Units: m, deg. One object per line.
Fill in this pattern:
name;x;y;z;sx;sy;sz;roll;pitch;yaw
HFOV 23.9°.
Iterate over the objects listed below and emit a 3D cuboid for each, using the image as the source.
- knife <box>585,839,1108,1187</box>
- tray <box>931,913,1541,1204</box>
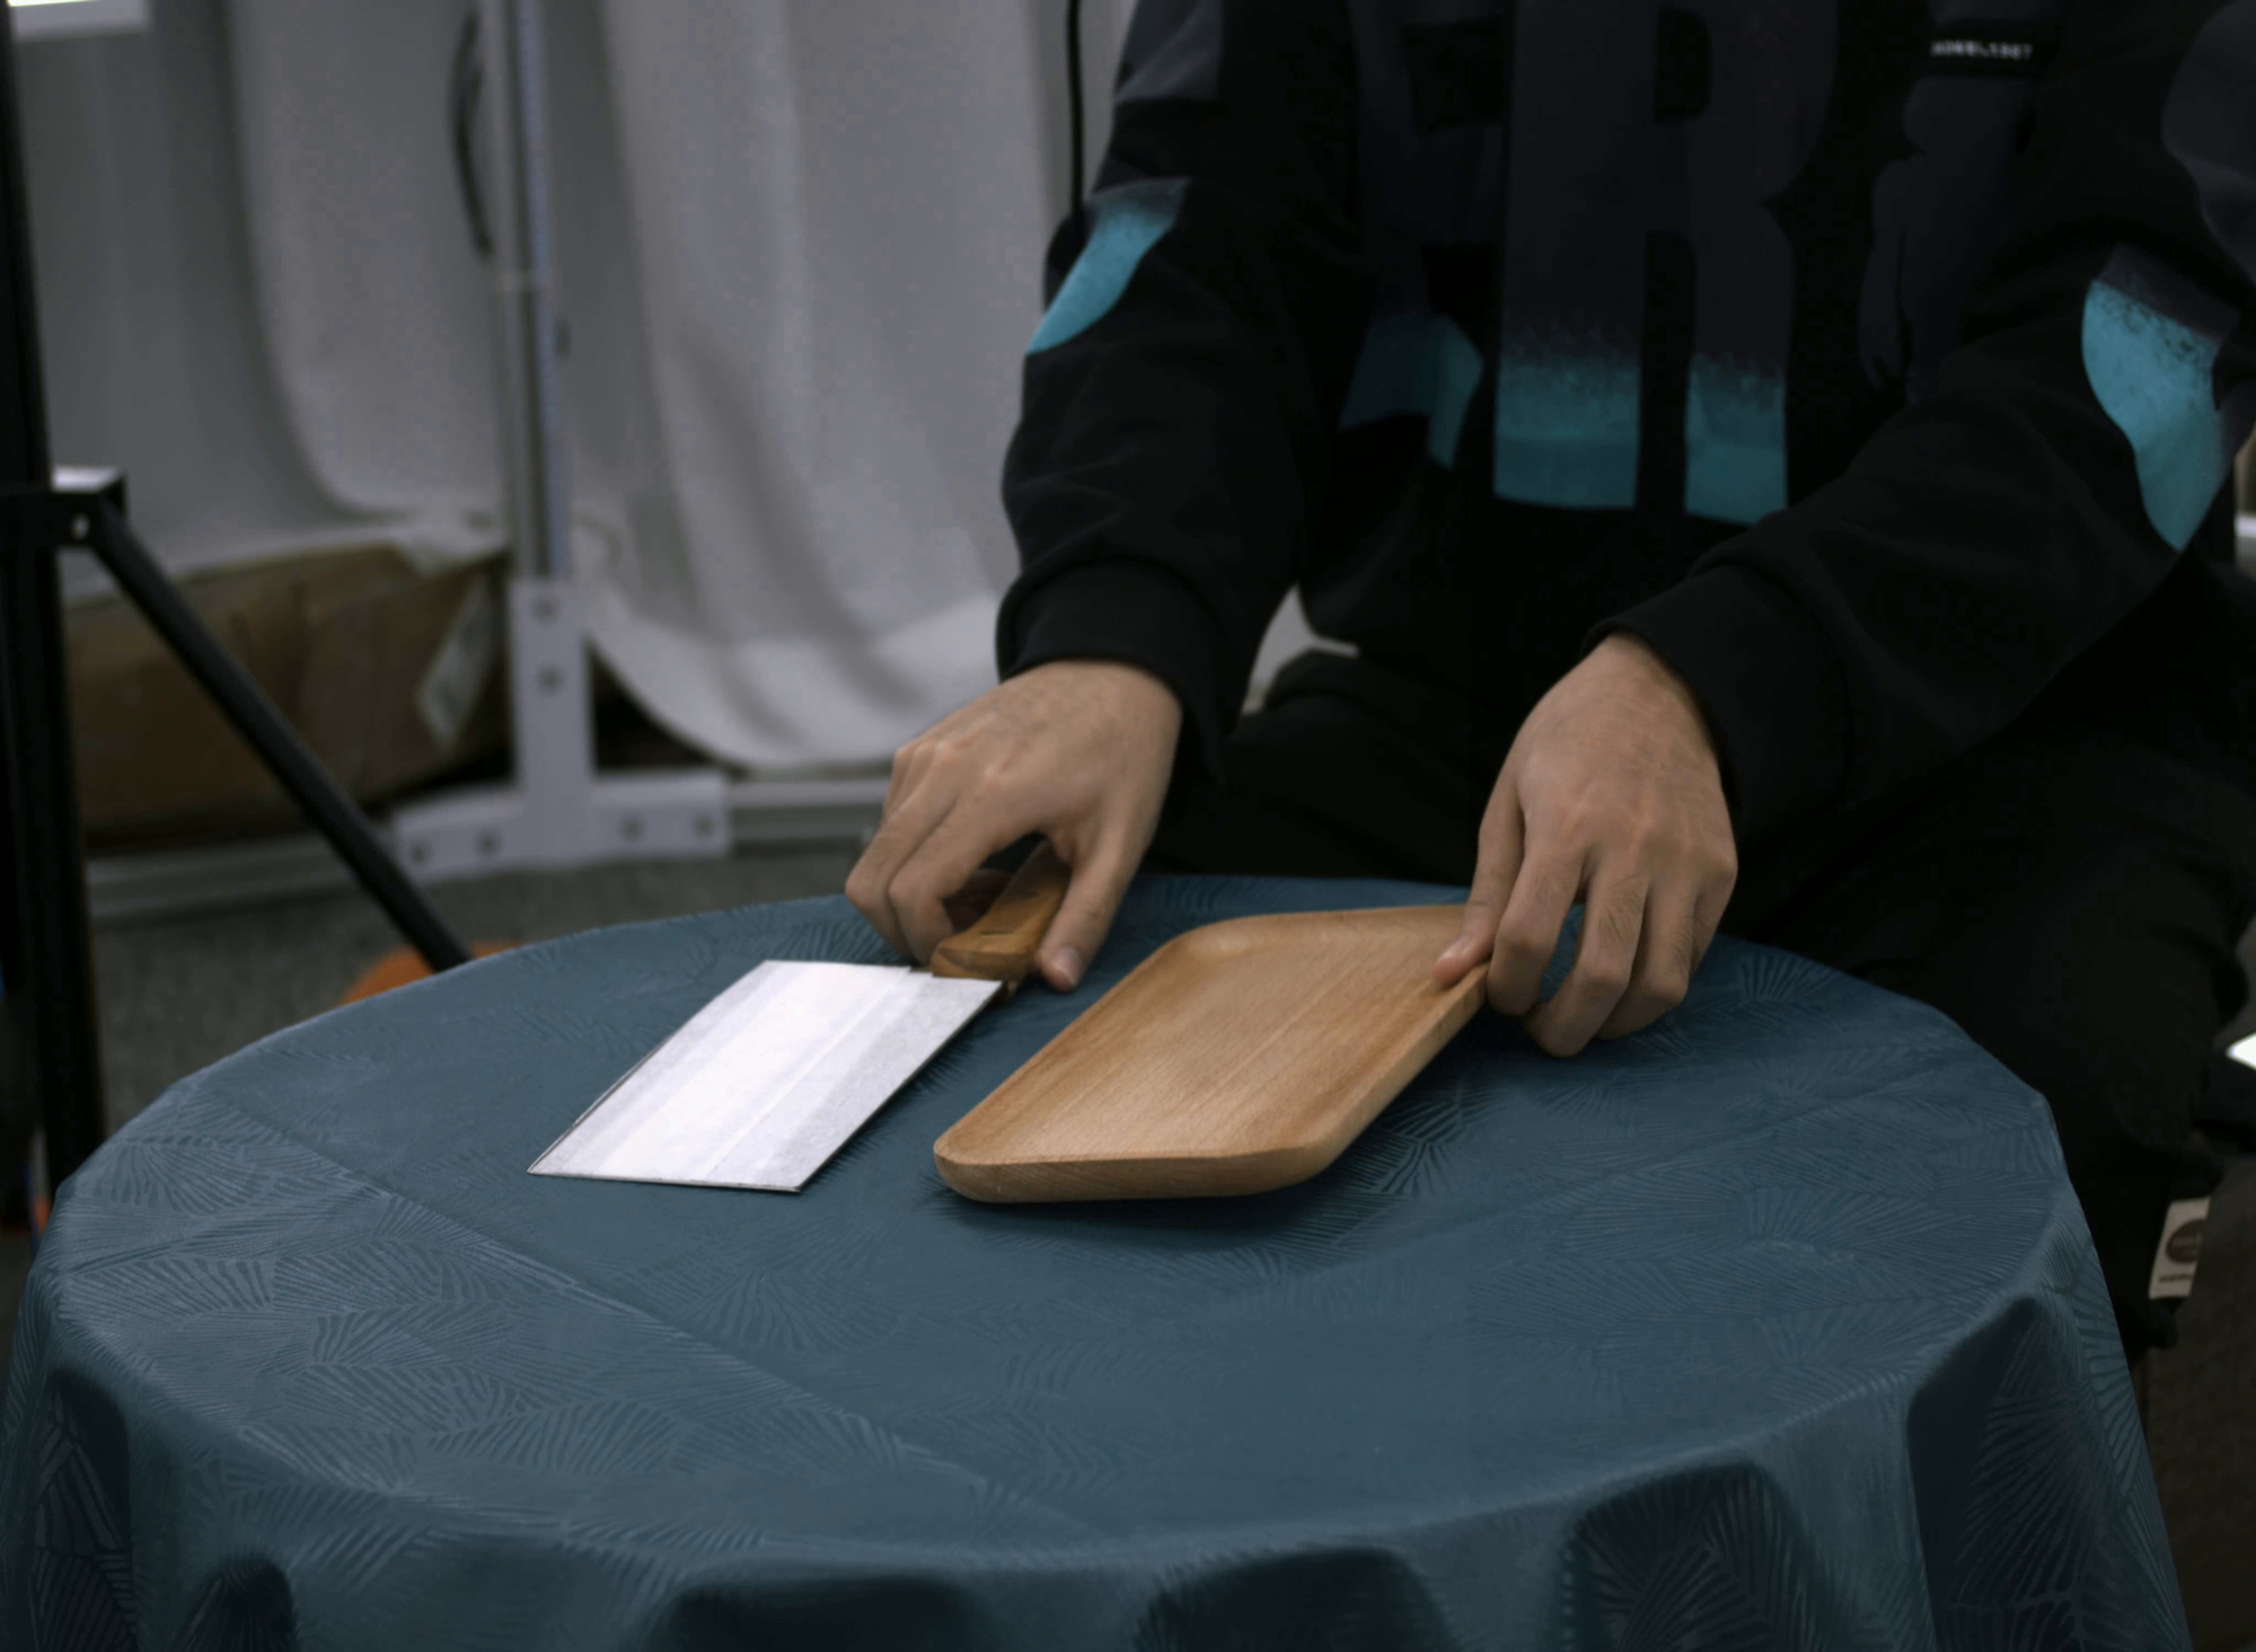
knife;-0.089;0.059;1.719;0.094;0.021;0.302;2;19;19
tray;0.038;0.070;1.636;0.132;0.023;0.247;0;15;23
